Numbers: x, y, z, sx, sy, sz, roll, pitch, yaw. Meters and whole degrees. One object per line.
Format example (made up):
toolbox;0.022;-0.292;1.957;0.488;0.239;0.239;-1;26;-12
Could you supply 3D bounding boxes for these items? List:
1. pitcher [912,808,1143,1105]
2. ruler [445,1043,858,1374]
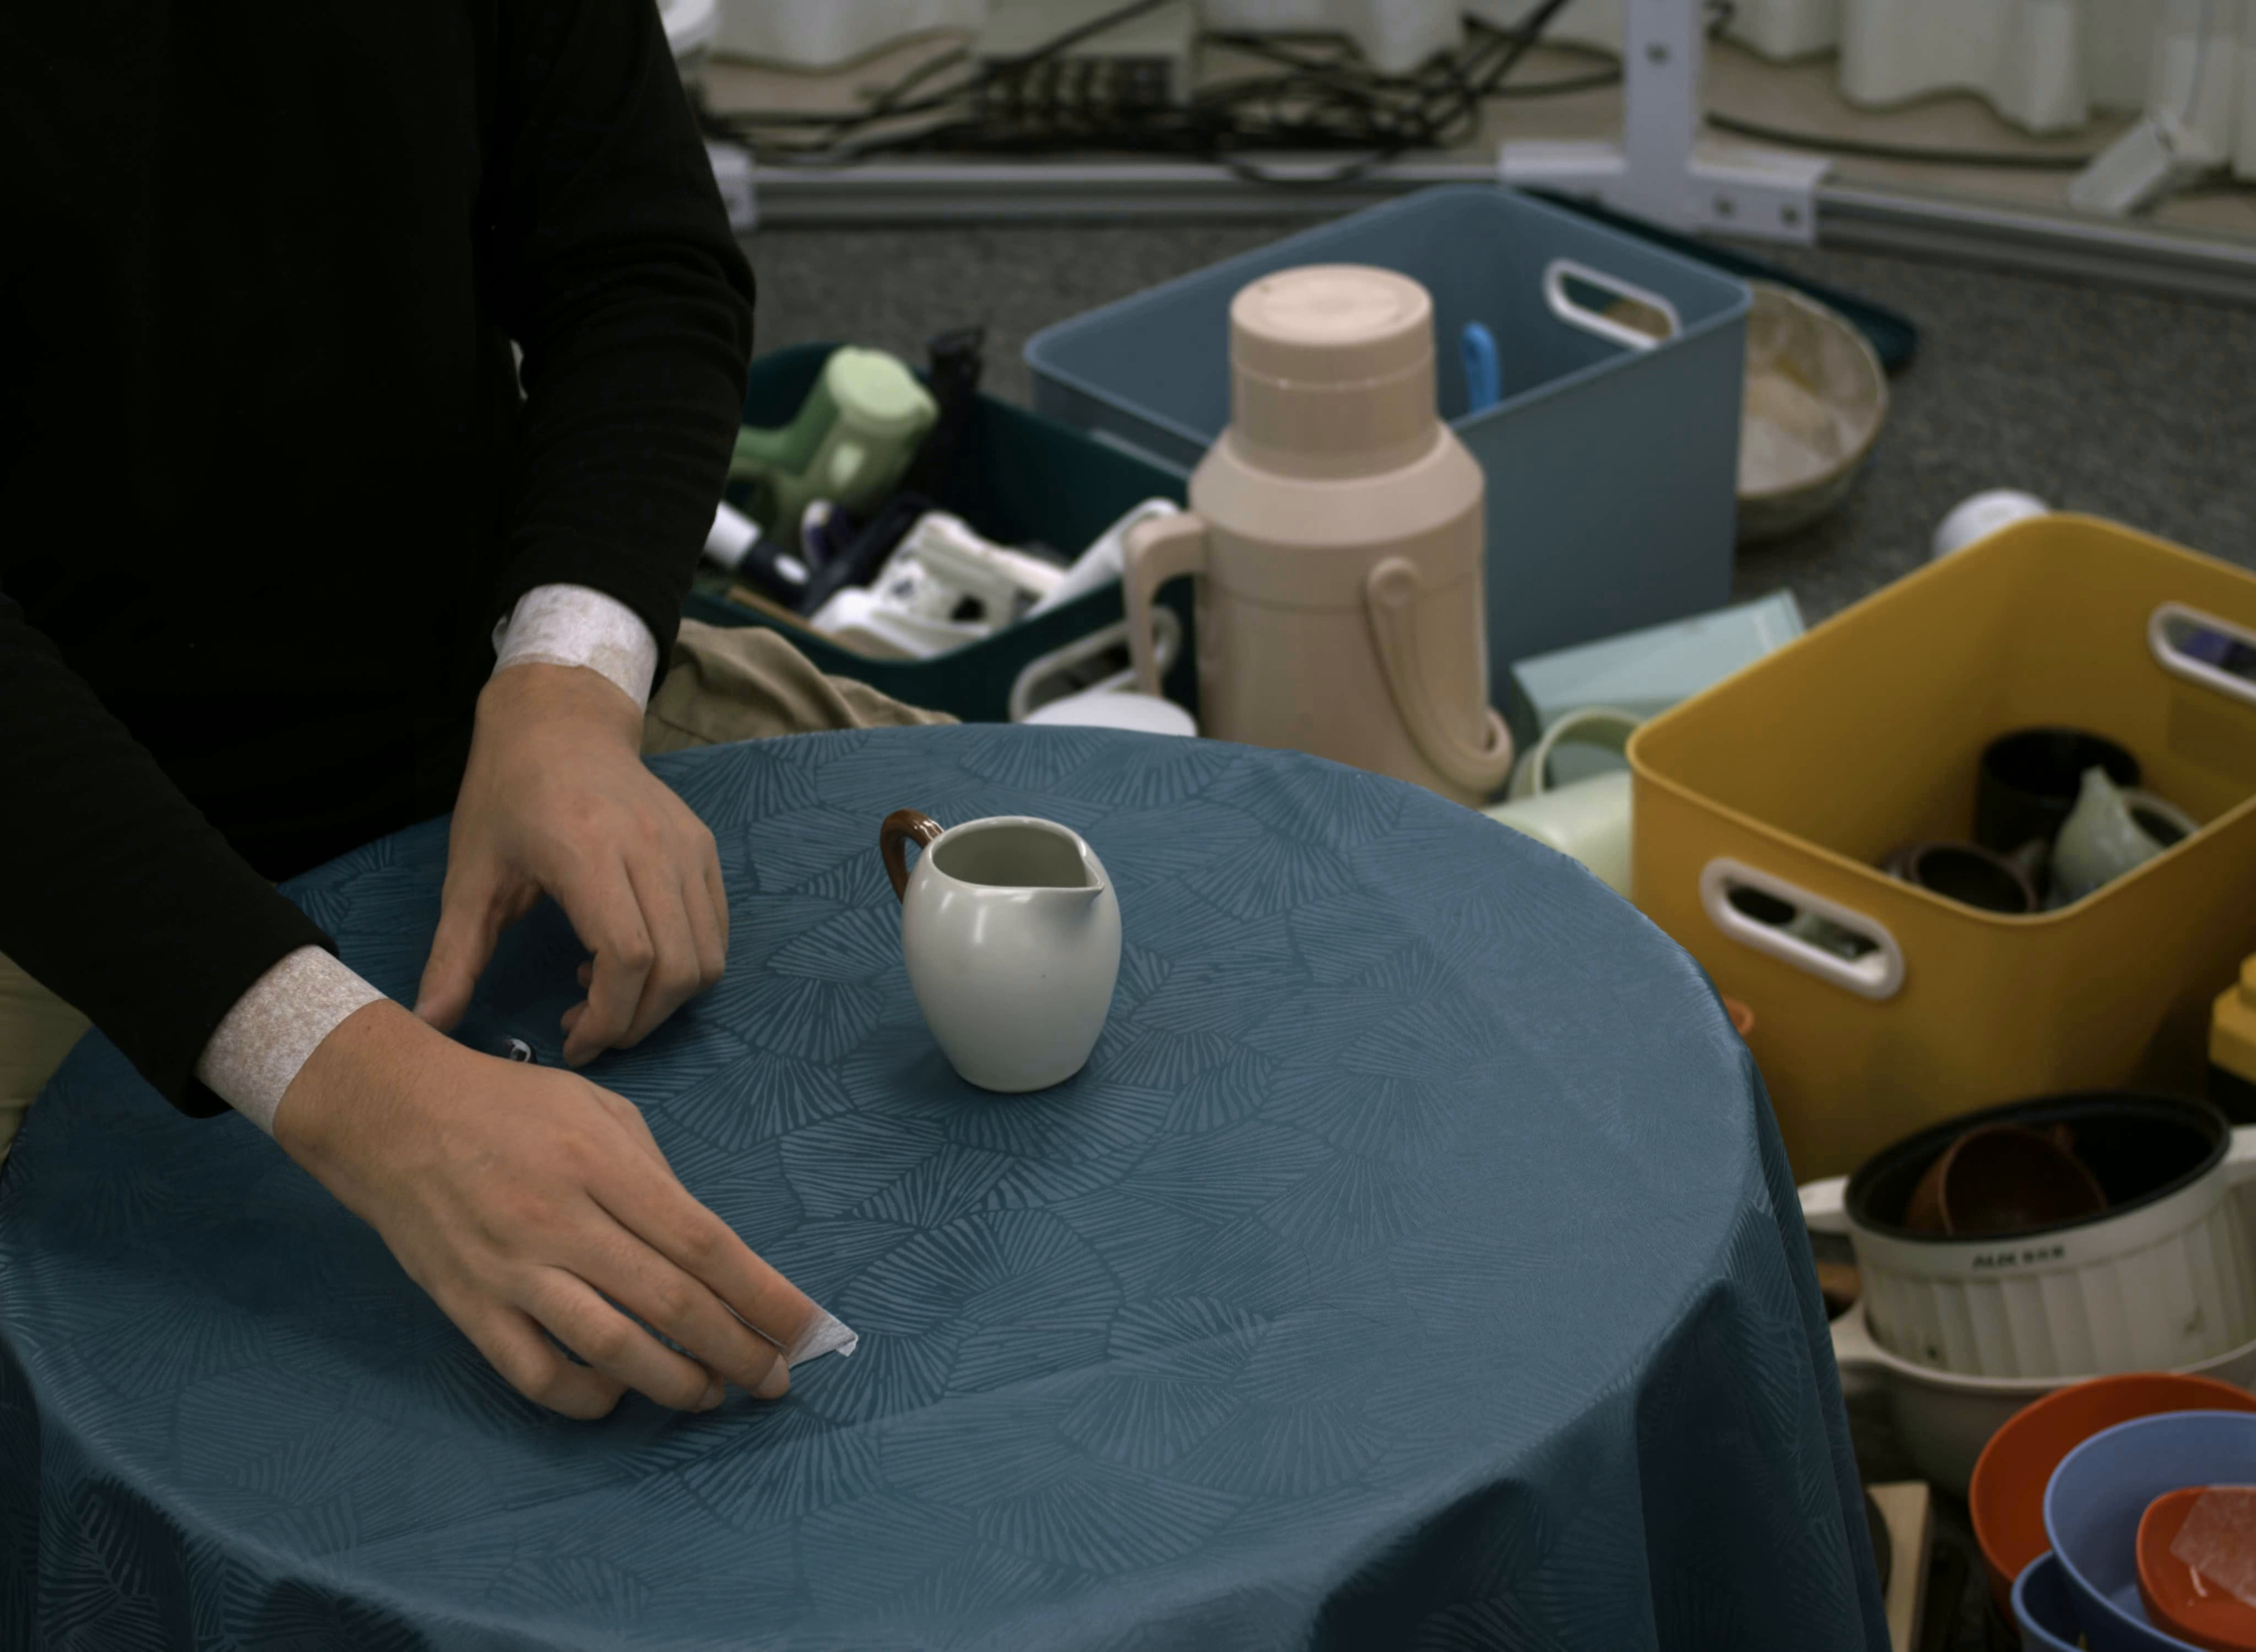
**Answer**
pitcher;-0.038;0.044;1.922;0.076;0.087;0.119;-18;31;-33
ruler;-0.163;0.122;1.851;0.038;0.024;0.218;-27;33;-26
